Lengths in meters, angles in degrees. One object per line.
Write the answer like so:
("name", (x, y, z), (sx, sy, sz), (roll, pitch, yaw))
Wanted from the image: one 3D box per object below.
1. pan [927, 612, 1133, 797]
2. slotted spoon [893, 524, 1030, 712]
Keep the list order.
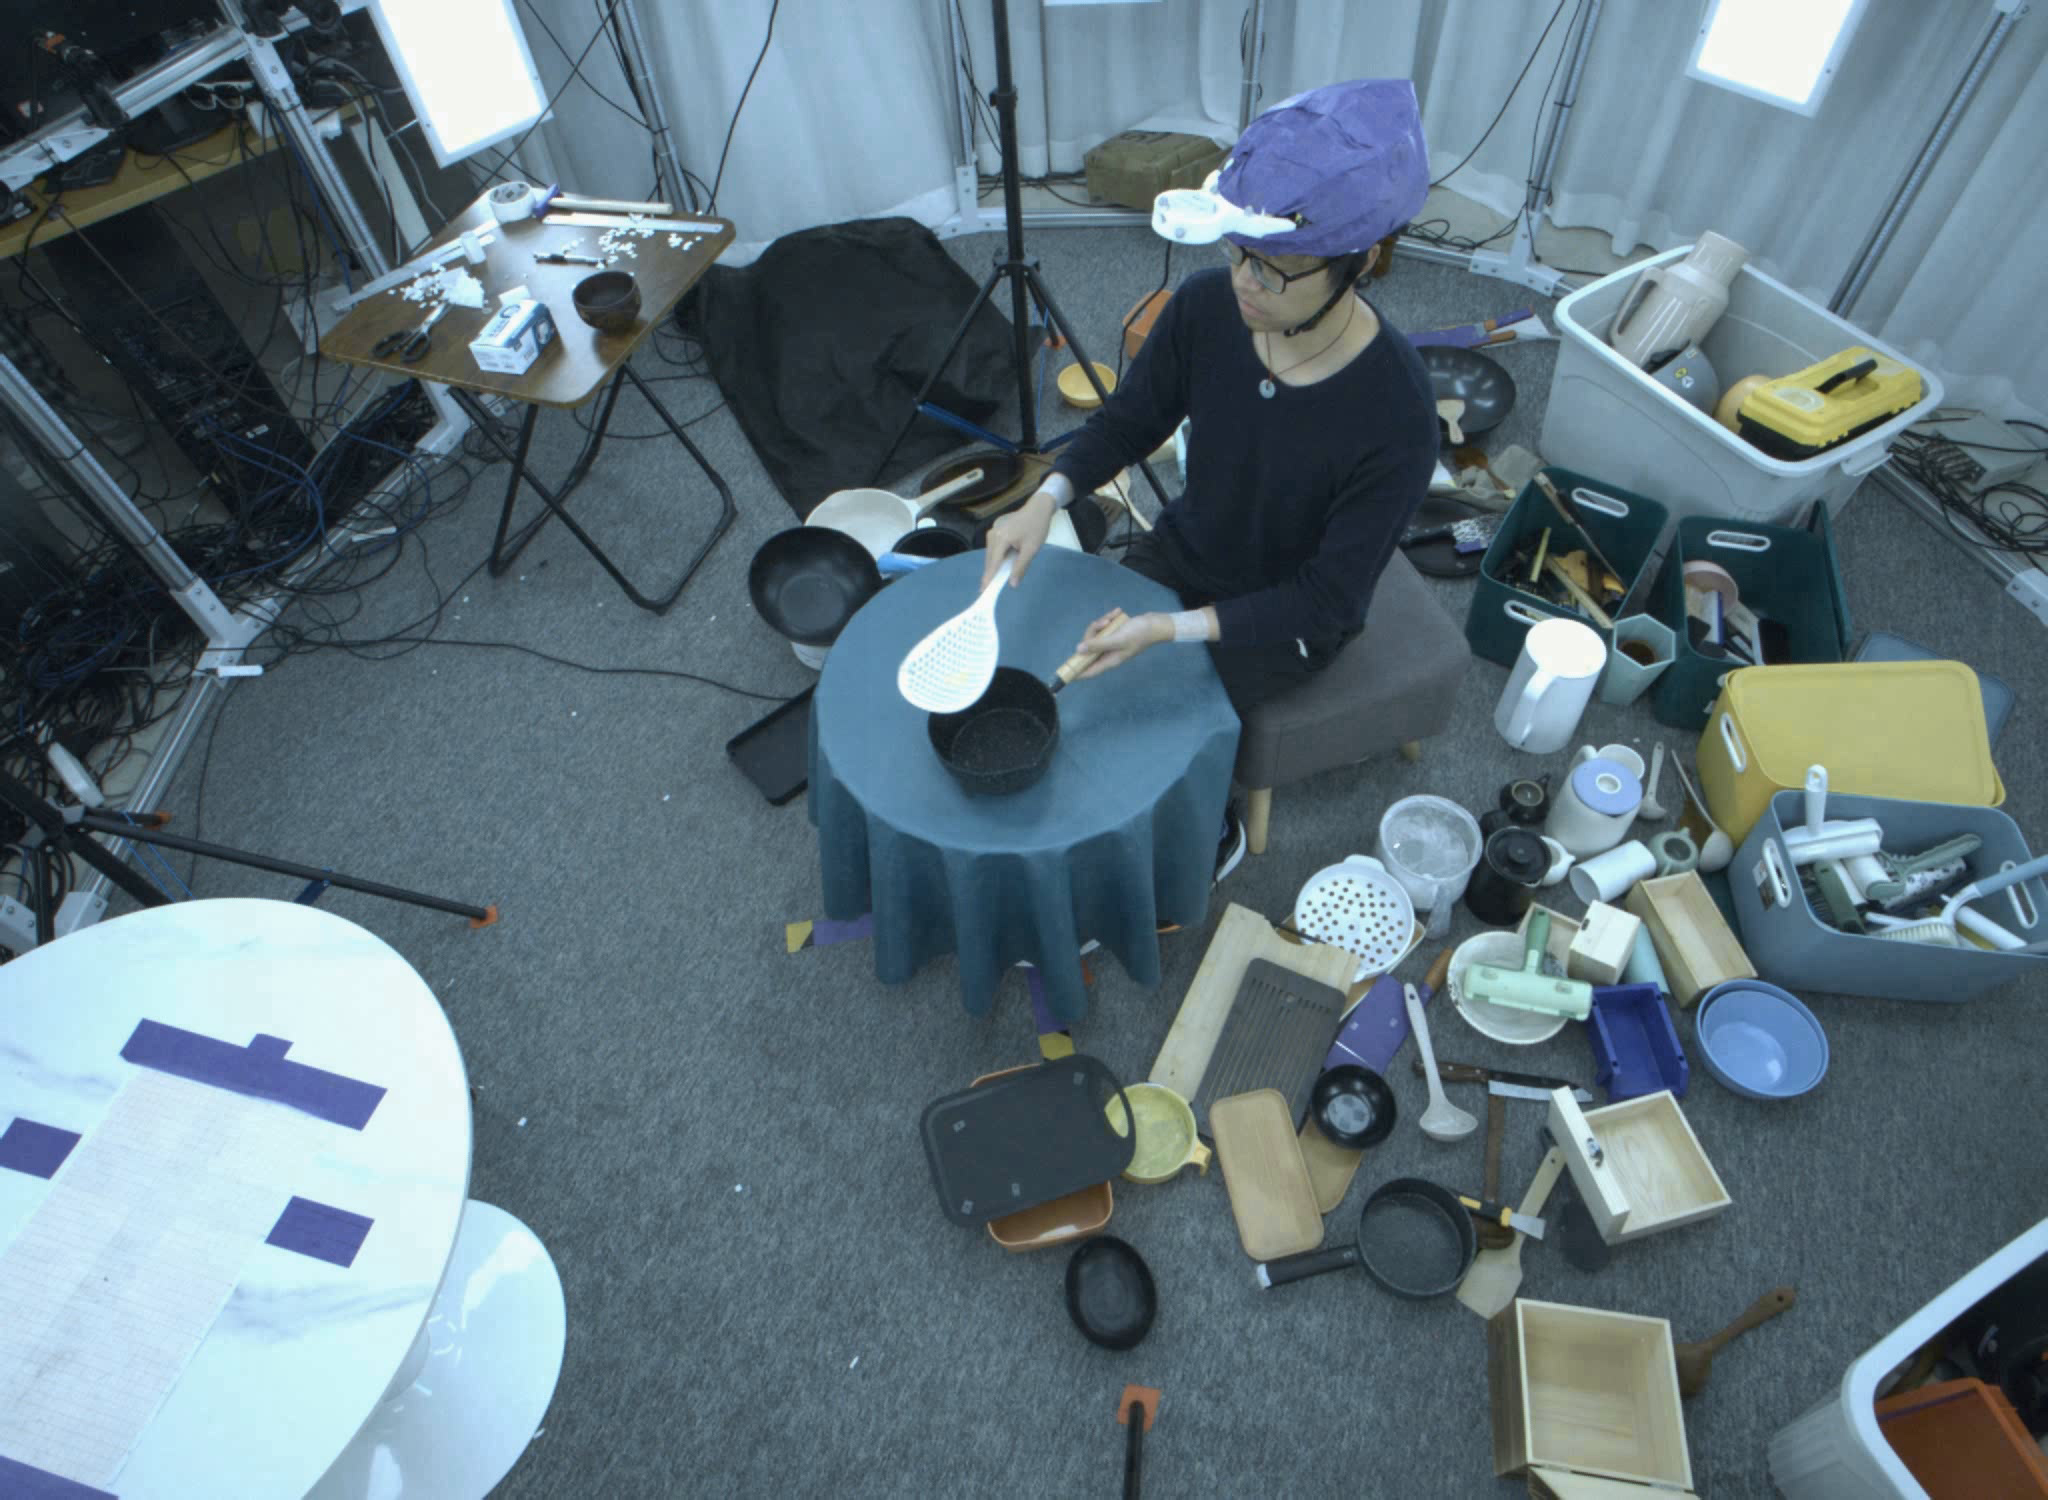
("pan", (0.022, -0.072, 1.755), (0.344, 0.110, 0.203), (-37, 59, -14))
("slotted spoon", (-0.065, -0.195, 1.747), (0.134, 0.051, 0.347), (16, 69, 22))
